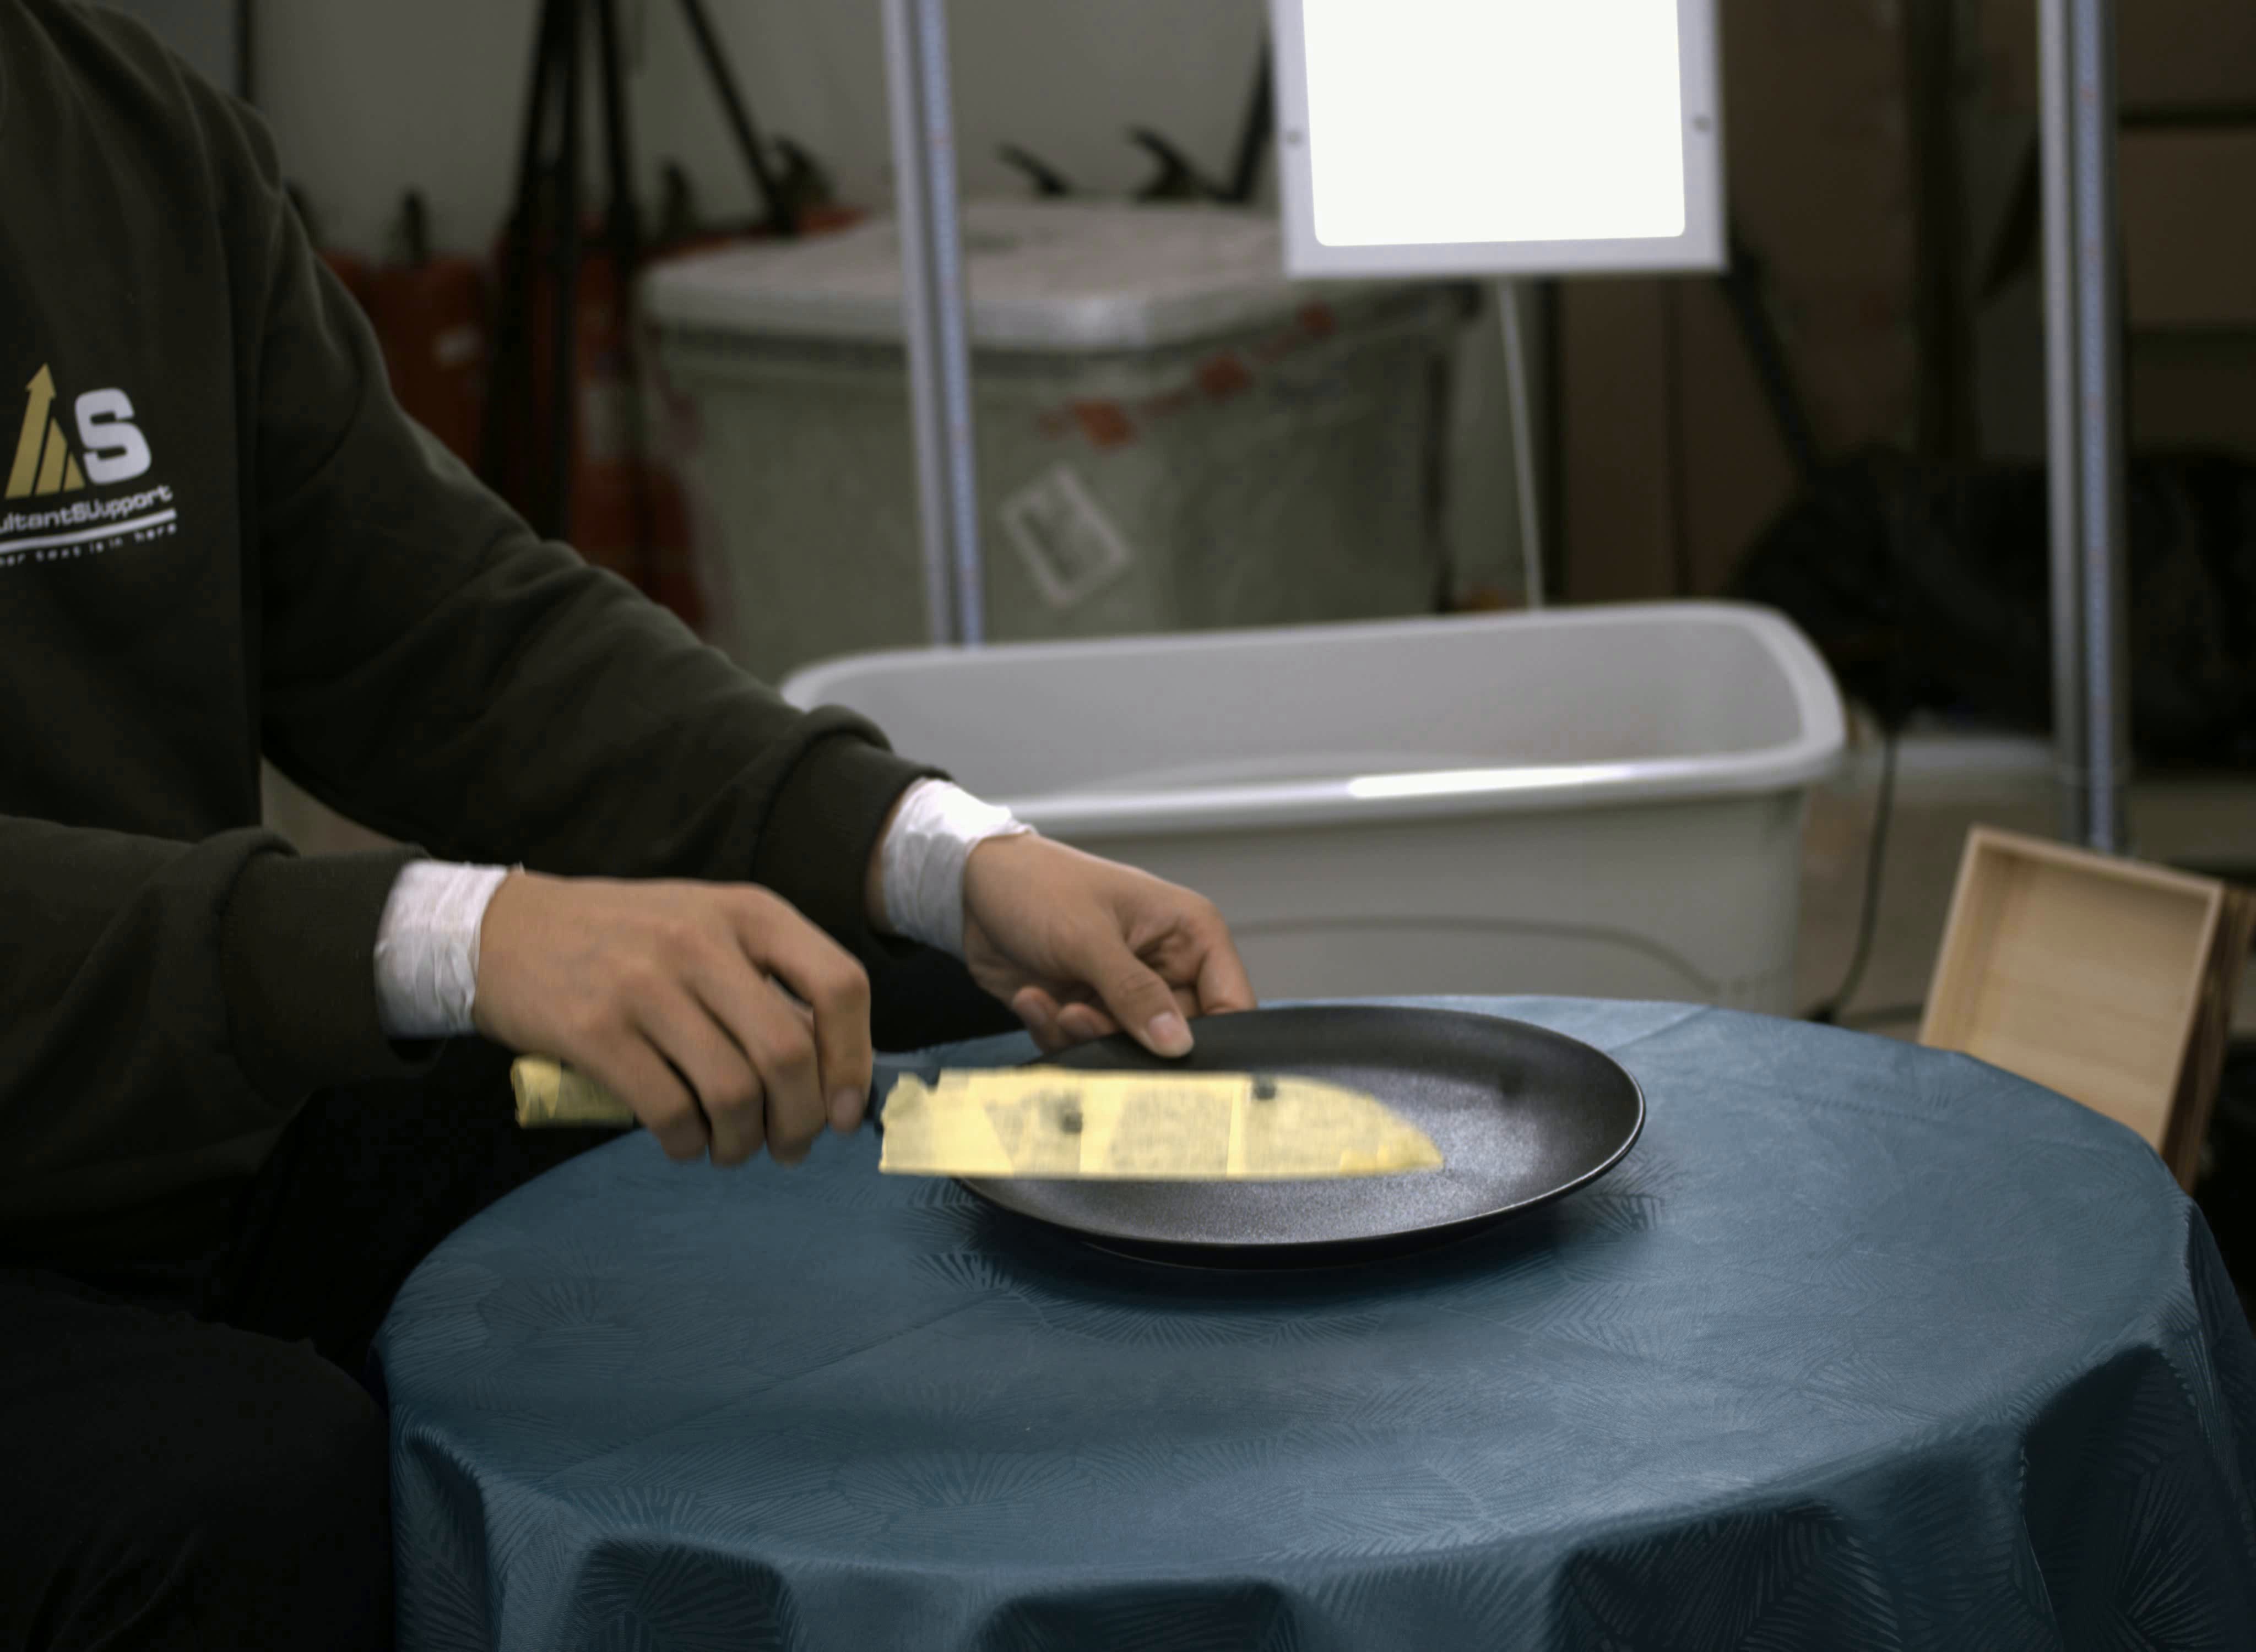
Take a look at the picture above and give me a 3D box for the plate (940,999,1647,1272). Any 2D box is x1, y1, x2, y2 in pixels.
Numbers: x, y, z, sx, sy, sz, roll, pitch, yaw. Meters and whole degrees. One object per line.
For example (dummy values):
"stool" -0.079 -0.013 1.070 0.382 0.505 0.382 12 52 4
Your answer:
"plate" 0.057 0.109 1.884 0.244 0.023 0.244 -5 17 0

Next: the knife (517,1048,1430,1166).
"knife" -0.050 0.088 1.706 0.290 0.027 0.080 0 21 8
